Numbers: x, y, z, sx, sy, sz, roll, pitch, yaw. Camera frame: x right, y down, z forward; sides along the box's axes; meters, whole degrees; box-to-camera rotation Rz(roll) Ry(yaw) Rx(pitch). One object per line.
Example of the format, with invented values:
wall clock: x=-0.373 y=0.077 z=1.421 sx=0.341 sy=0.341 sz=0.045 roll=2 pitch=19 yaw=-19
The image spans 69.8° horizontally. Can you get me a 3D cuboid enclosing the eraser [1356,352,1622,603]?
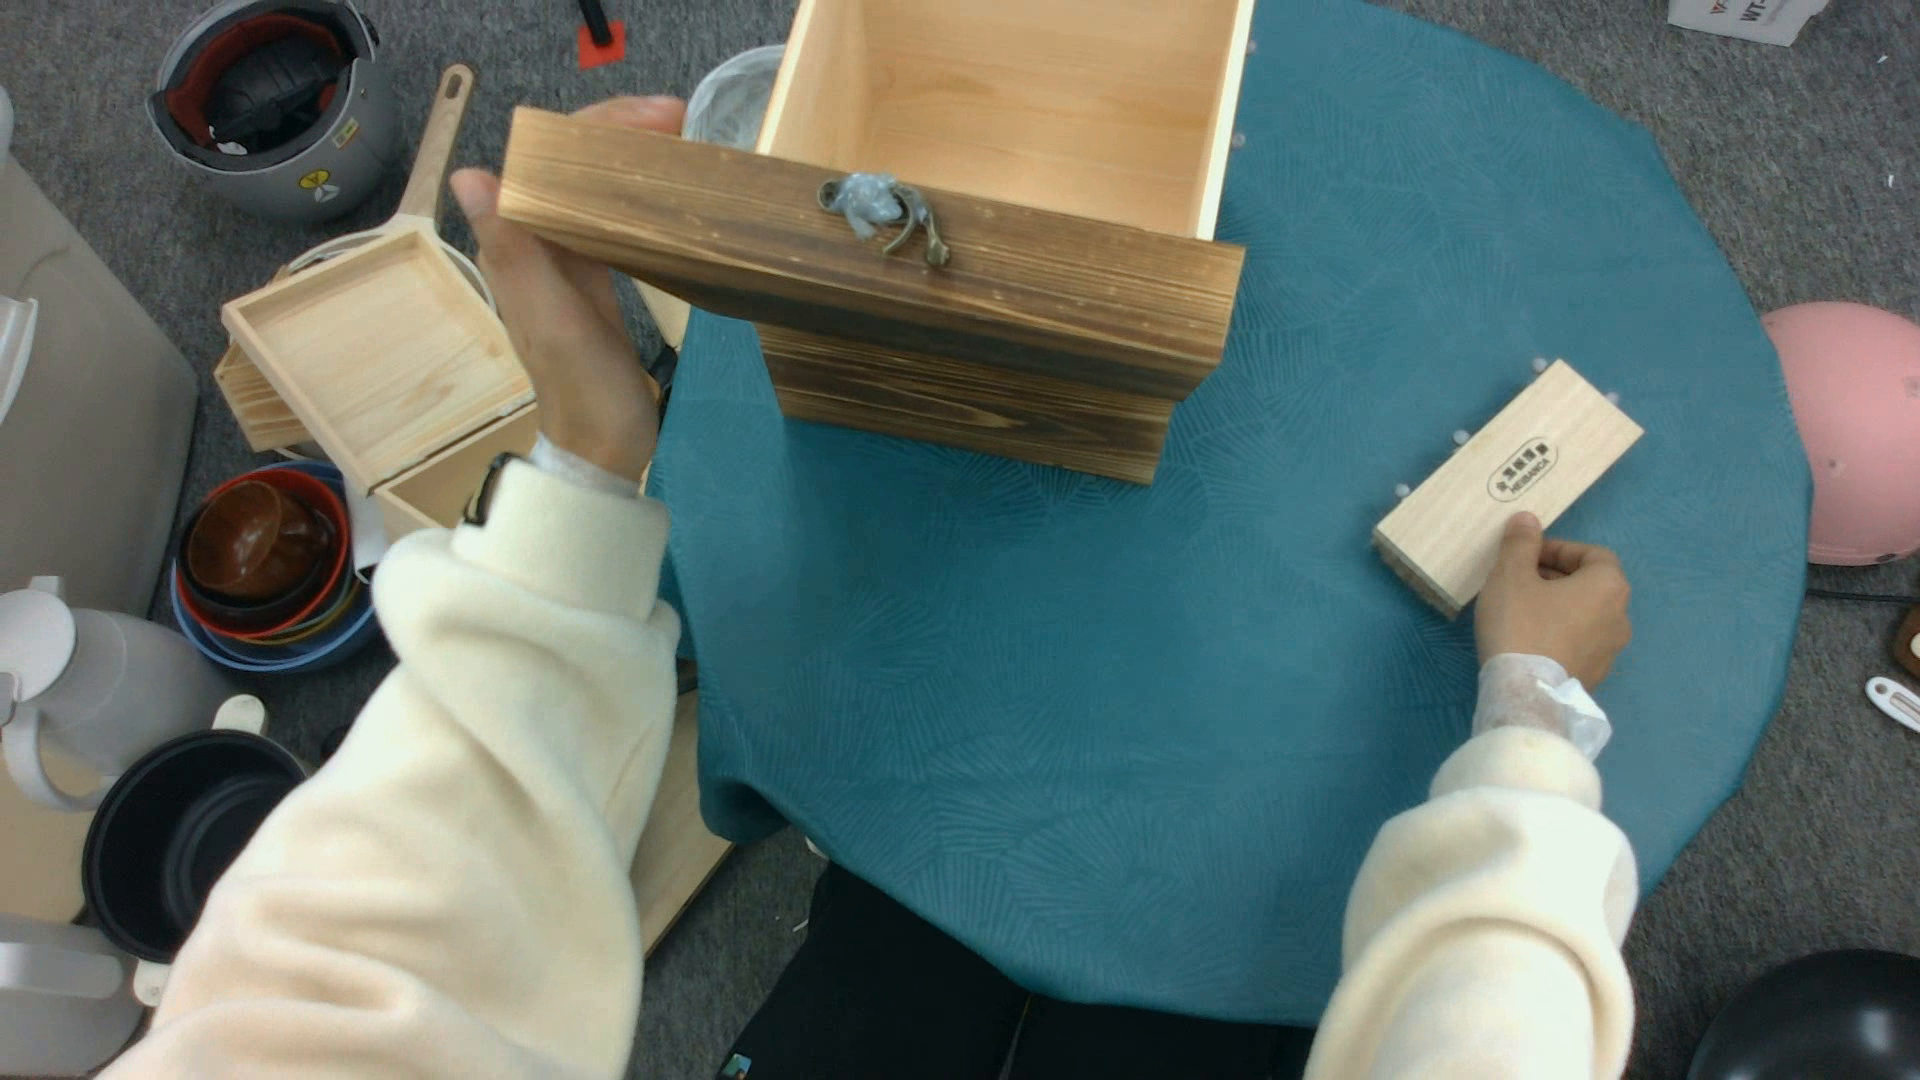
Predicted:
eraser: x=0.268 y=-0.033 z=0.703 sx=0.139 sy=0.029 sz=0.057 roll=-40 pitch=76 yaw=-13

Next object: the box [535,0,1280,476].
box: x=0.006 y=-0.162 z=0.577 sx=0.209 sy=0.374 sz=0.323 roll=10 pitch=69 yaw=4
